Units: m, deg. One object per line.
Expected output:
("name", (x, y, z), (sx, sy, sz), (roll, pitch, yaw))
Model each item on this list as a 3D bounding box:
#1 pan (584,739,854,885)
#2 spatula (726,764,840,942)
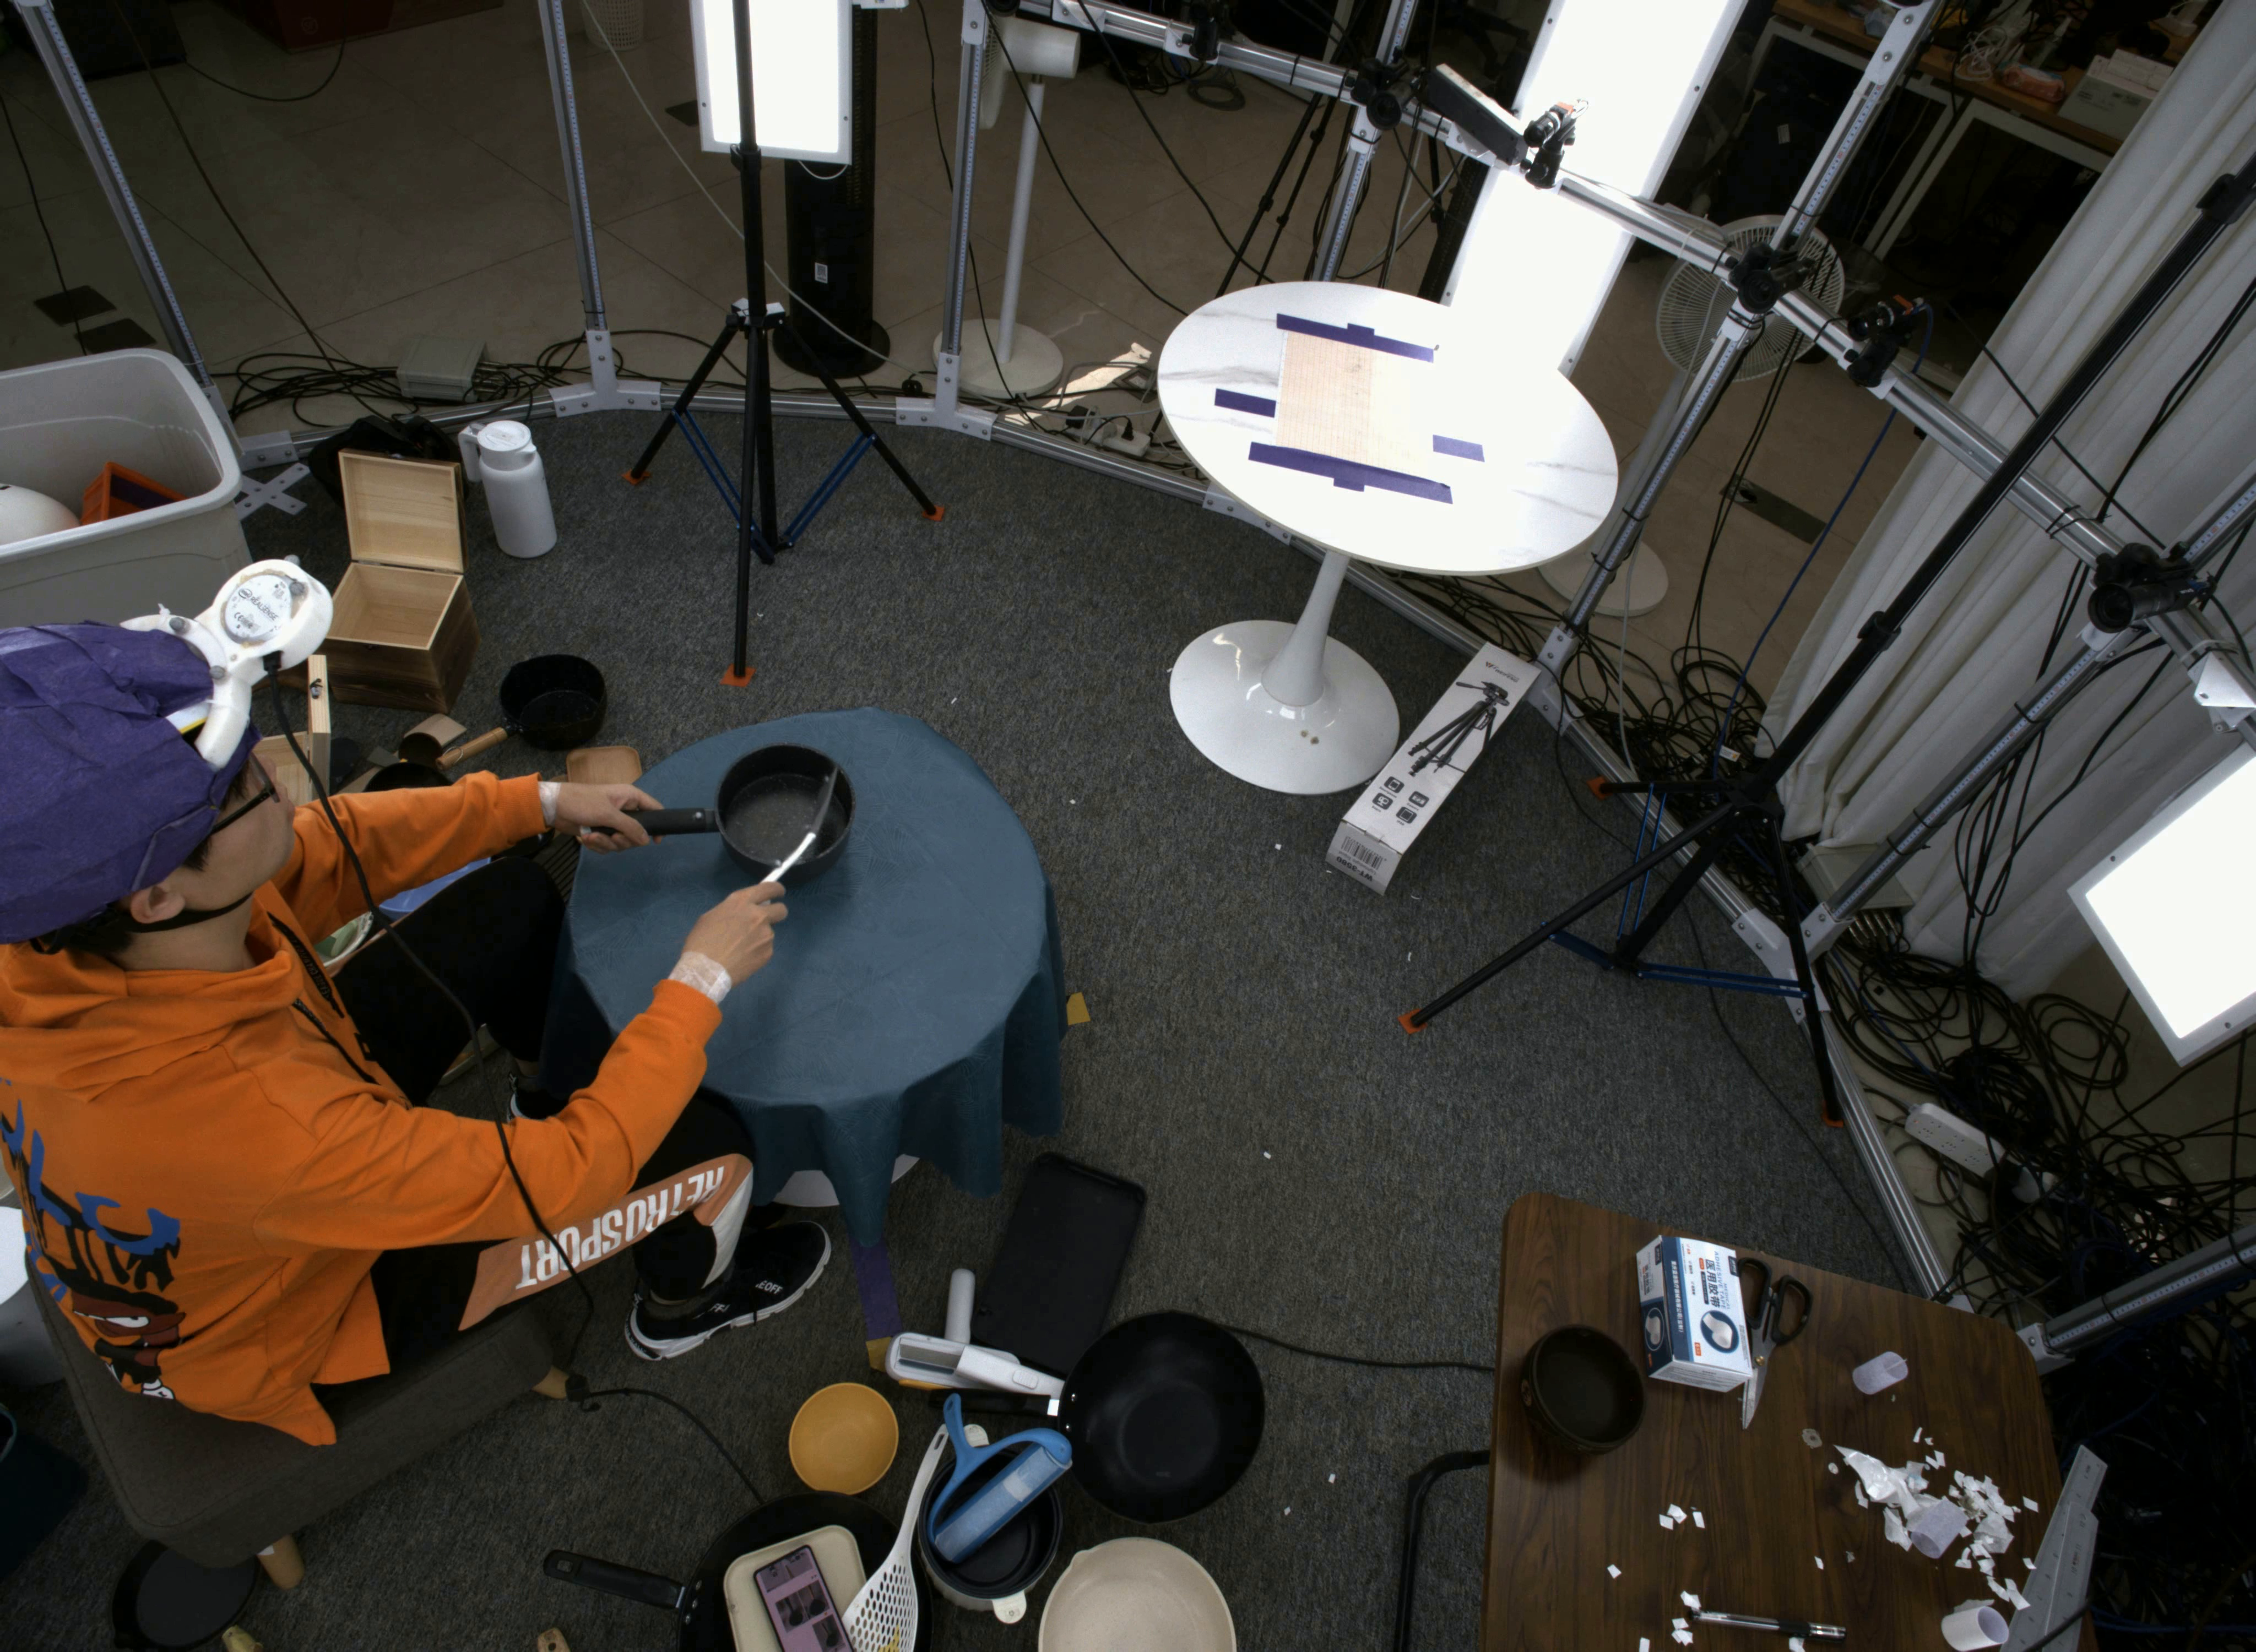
("pan", (-0.507, -0.009, 1.596), (0.330, 0.087, 0.170), (-5, 66, -20))
("spatula", (-0.398, 0.027, 1.528), (0.032, 0.059, 0.284), (33, 39, -12))
